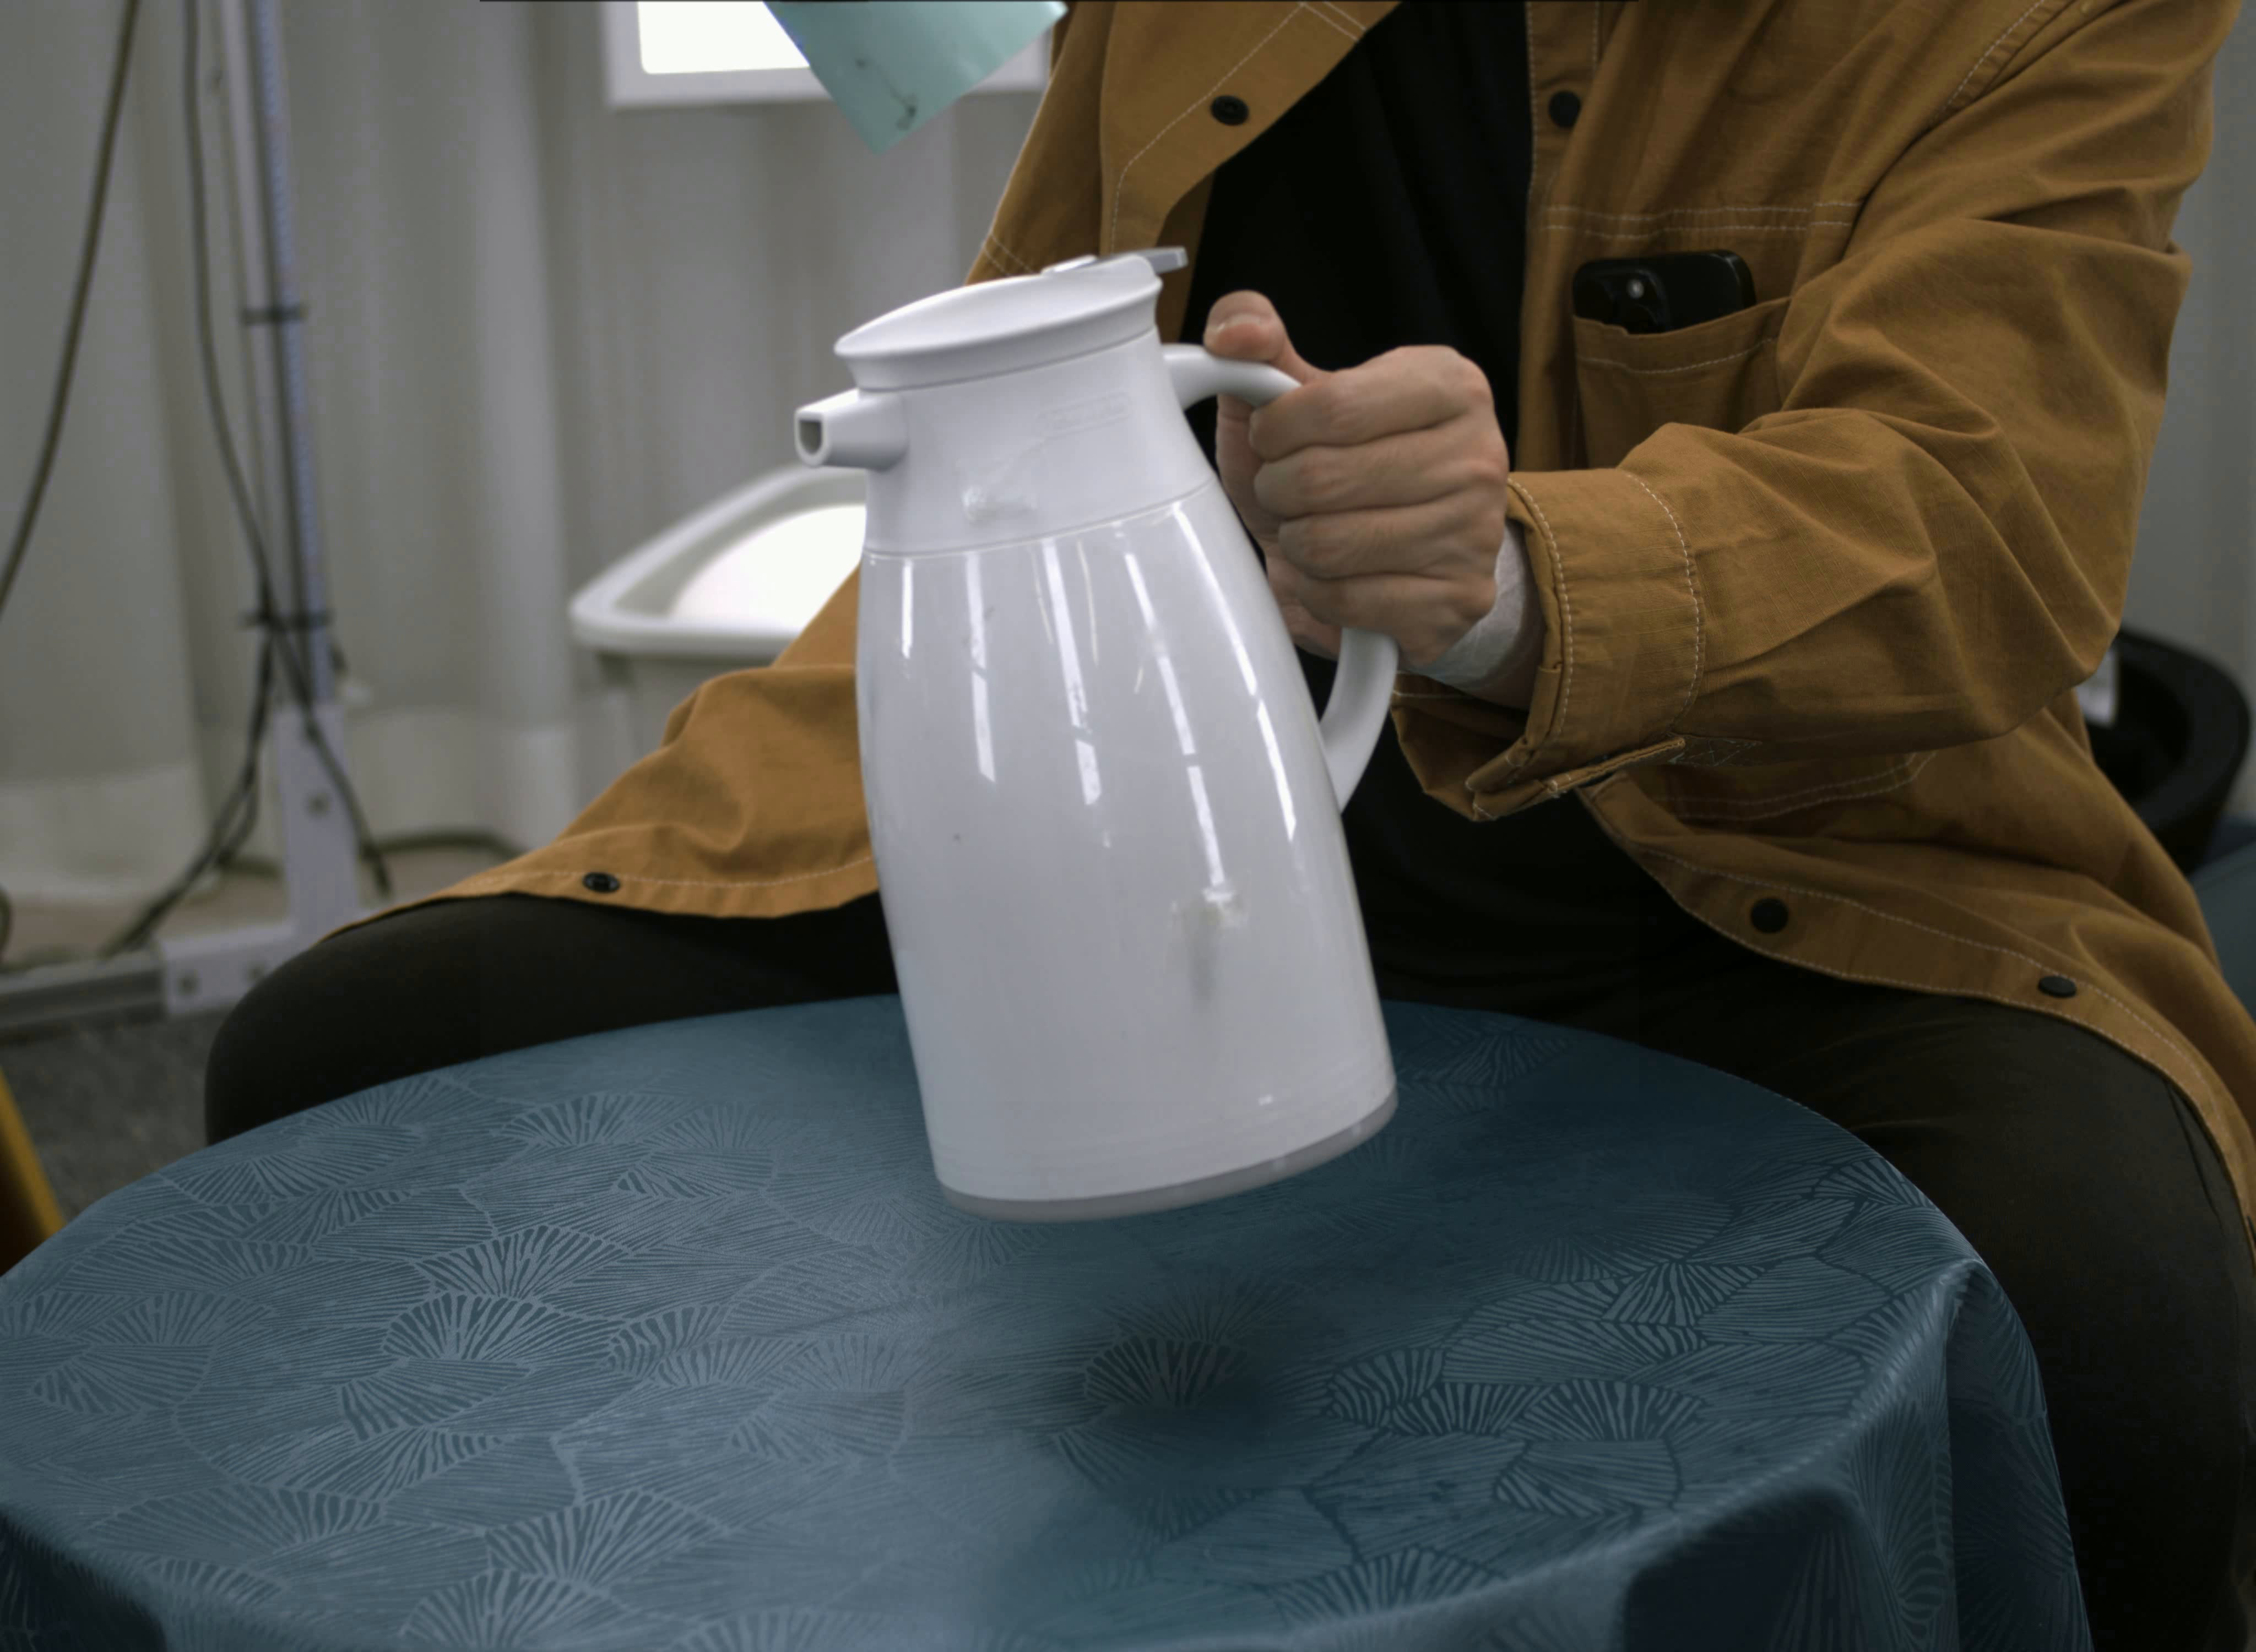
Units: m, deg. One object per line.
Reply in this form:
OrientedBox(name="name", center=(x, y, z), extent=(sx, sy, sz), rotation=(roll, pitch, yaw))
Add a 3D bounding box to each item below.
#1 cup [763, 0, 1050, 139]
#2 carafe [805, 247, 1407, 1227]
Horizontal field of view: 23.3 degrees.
OrientedBox(name="cup", center=(-0.083, -0.256, 1.467), extent=(0.066, 0.132, 0.067), rotation=(-36, 8, 6))
OrientedBox(name="carafe", center=(0.005, -0.033, 1.520), extent=(0.167, 0.248, 0.133), rotation=(-15, 12, -25))
